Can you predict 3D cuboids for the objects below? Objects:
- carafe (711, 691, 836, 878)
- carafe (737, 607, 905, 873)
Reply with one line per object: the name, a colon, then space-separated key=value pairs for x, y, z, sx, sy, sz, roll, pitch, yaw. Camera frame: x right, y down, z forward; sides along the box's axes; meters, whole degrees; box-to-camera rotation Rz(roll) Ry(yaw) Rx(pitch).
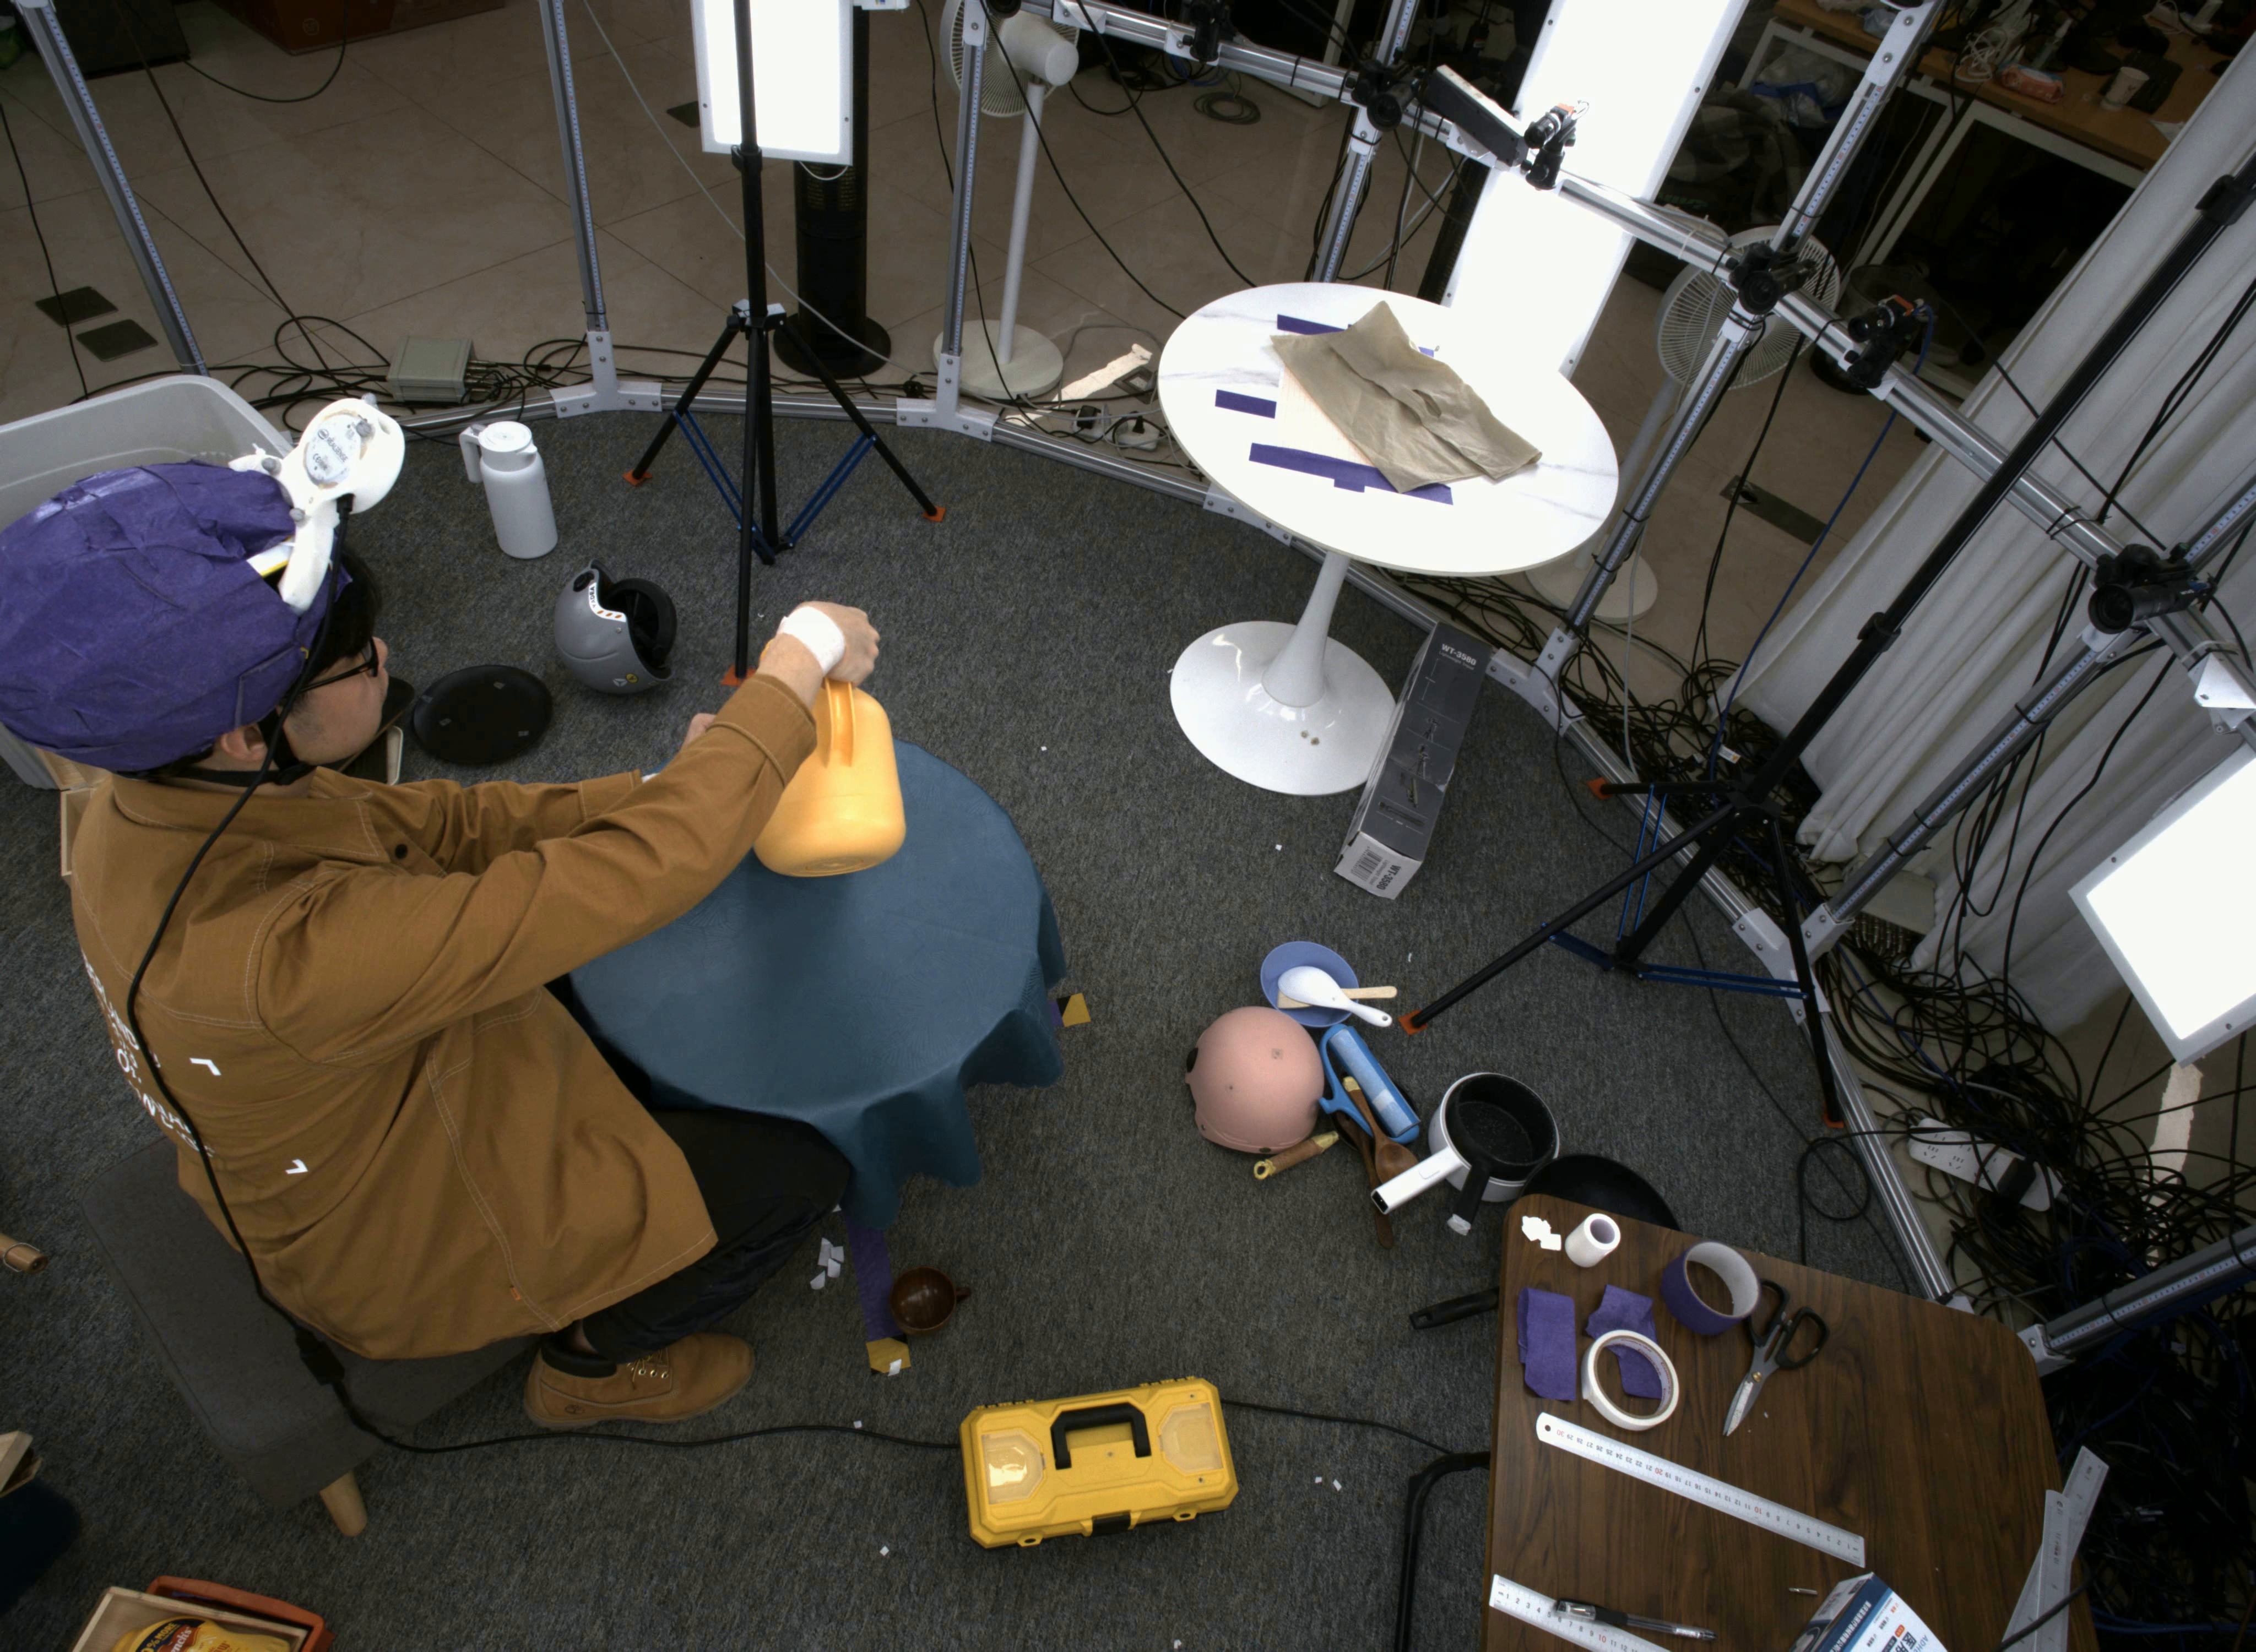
carafe: x=-0.429 y=-0.064 z=1.607 sx=0.167 sy=0.254 sz=0.130 roll=1 pitch=52 yaw=-11
carafe: x=-0.332 y=-0.096 z=1.376 sx=0.165 sy=0.201 sz=0.260 roll=-9 pitch=80 yaw=-24
